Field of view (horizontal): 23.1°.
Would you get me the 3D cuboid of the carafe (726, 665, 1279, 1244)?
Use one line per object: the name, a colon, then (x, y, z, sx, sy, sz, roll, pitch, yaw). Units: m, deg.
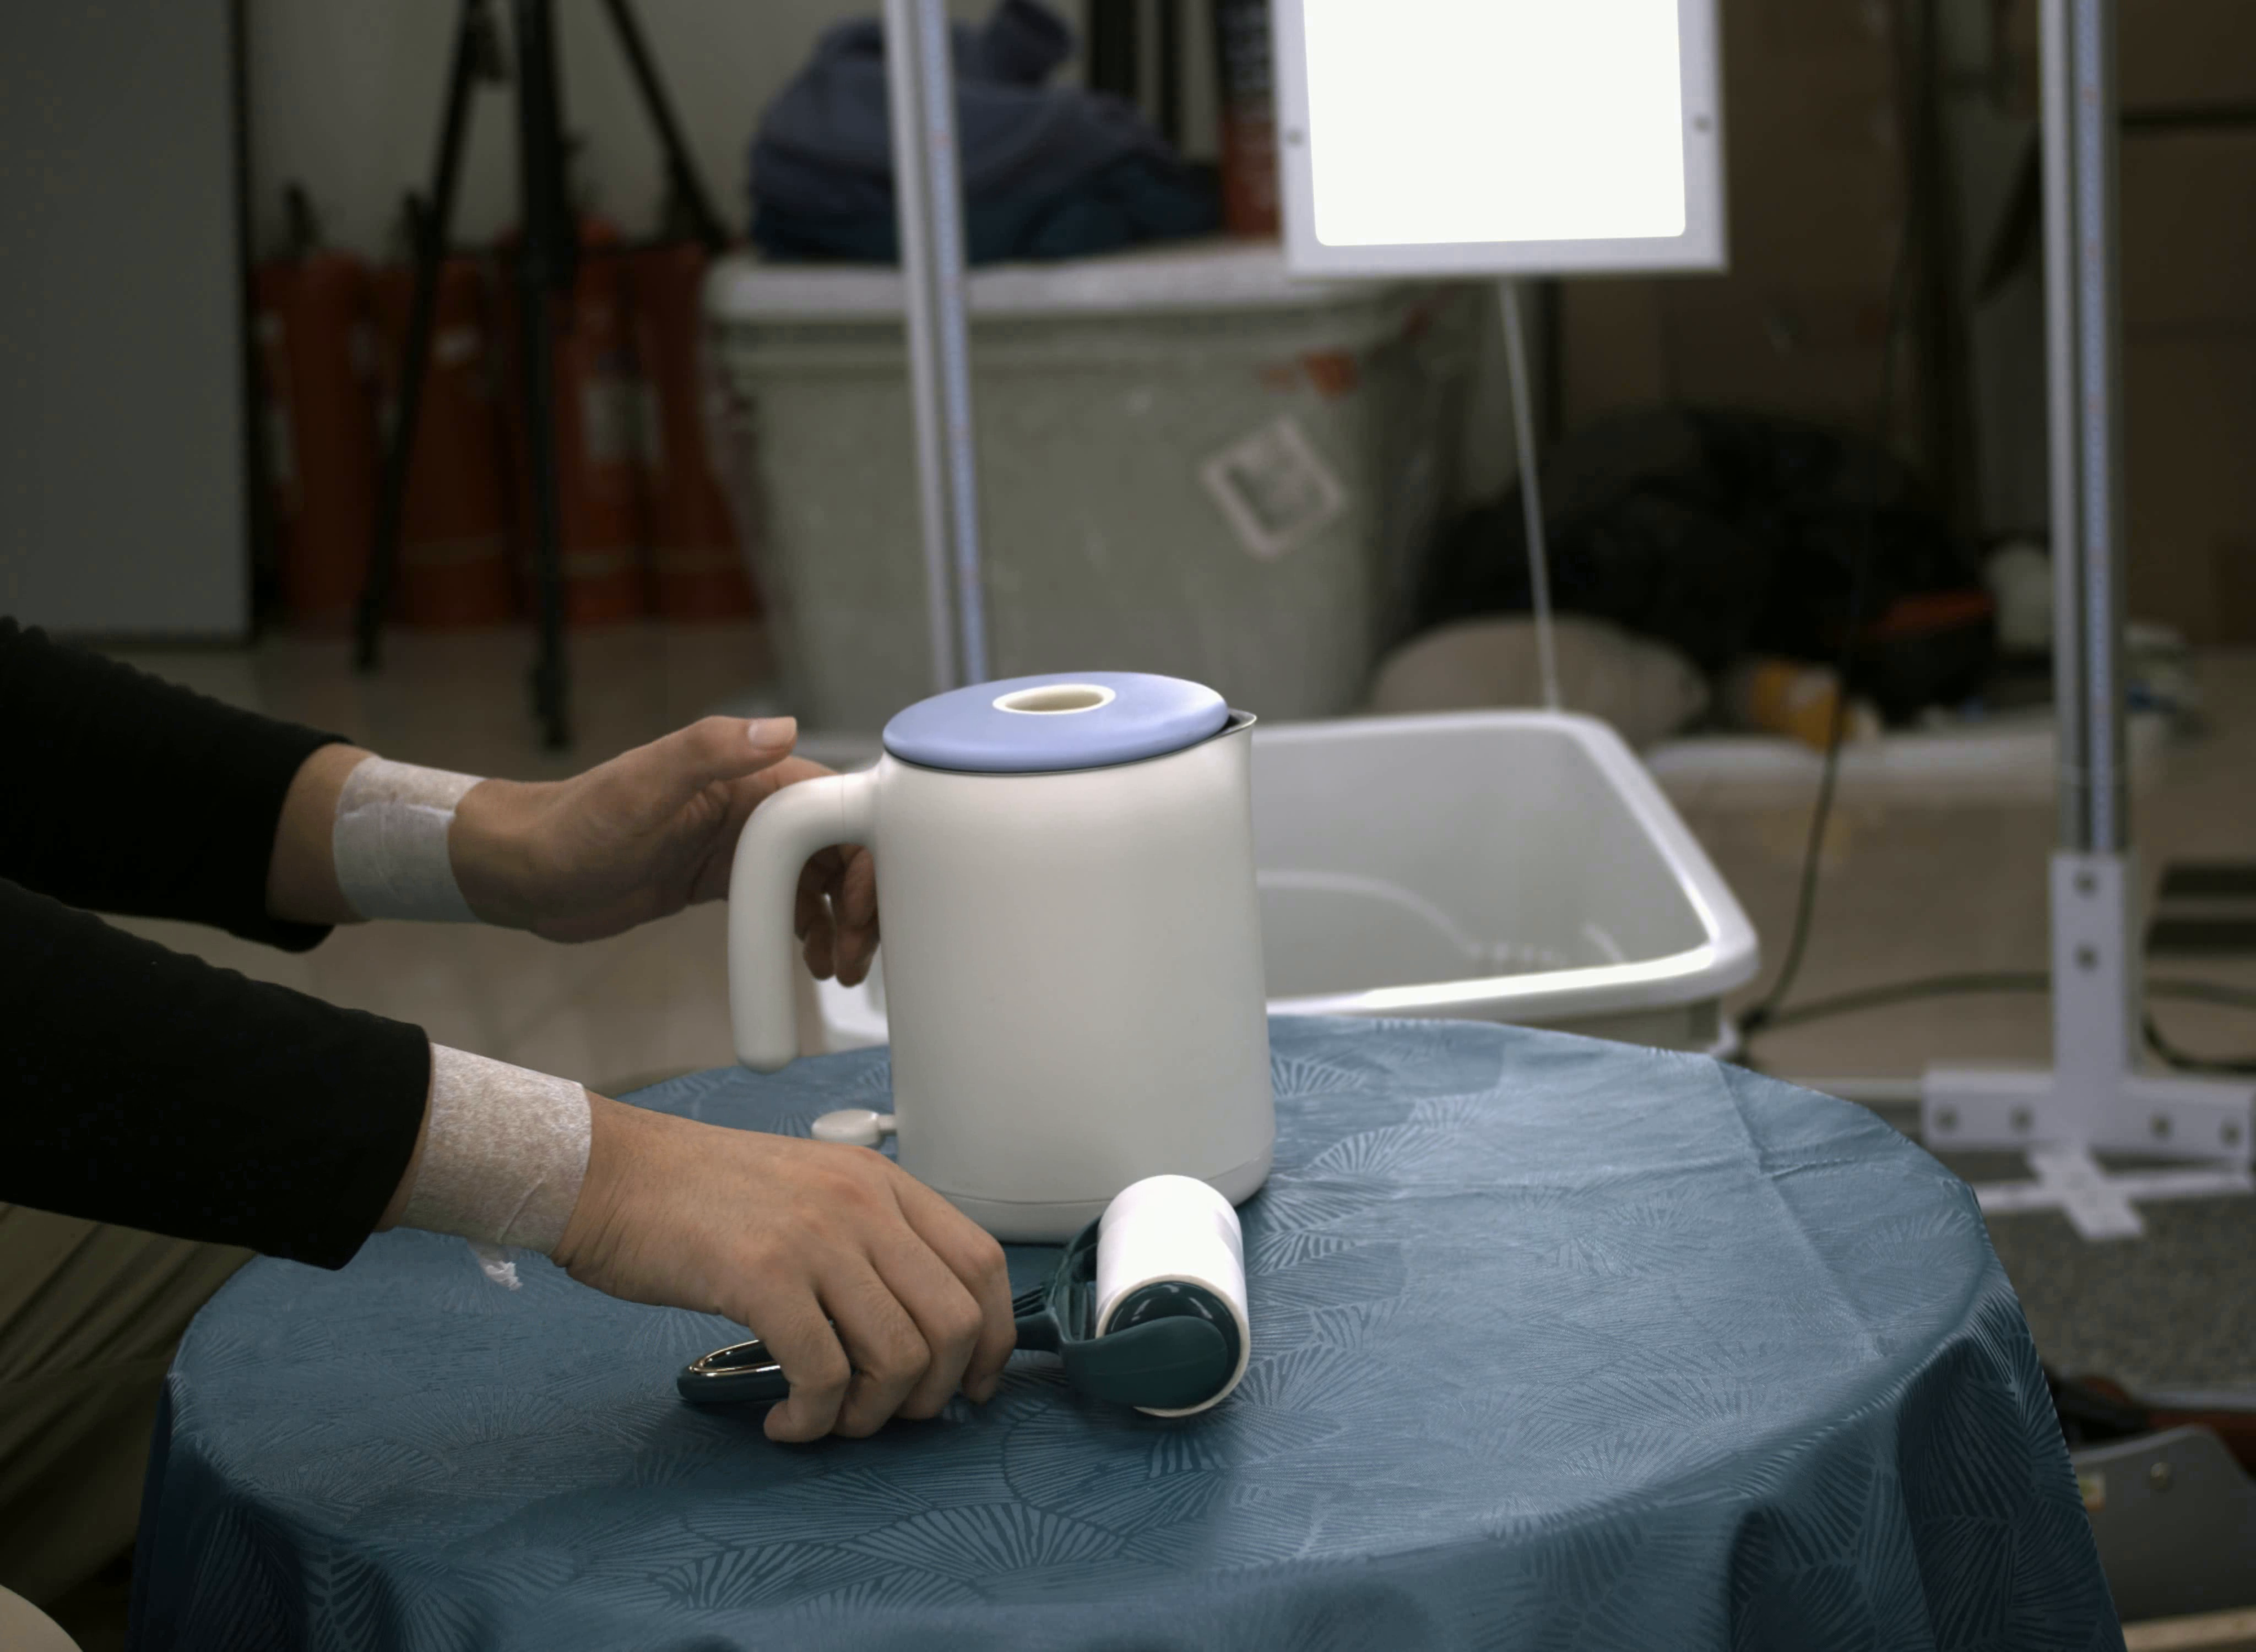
carafe: (-0.043, 0.045, 1.884, 0.191, 0.183, 0.132, -6, 13, 3)

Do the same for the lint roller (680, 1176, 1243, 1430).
lint roller: (-0.054, 0.154, 1.720, 0.180, 0.048, 0.134, -7, 14, 3)
